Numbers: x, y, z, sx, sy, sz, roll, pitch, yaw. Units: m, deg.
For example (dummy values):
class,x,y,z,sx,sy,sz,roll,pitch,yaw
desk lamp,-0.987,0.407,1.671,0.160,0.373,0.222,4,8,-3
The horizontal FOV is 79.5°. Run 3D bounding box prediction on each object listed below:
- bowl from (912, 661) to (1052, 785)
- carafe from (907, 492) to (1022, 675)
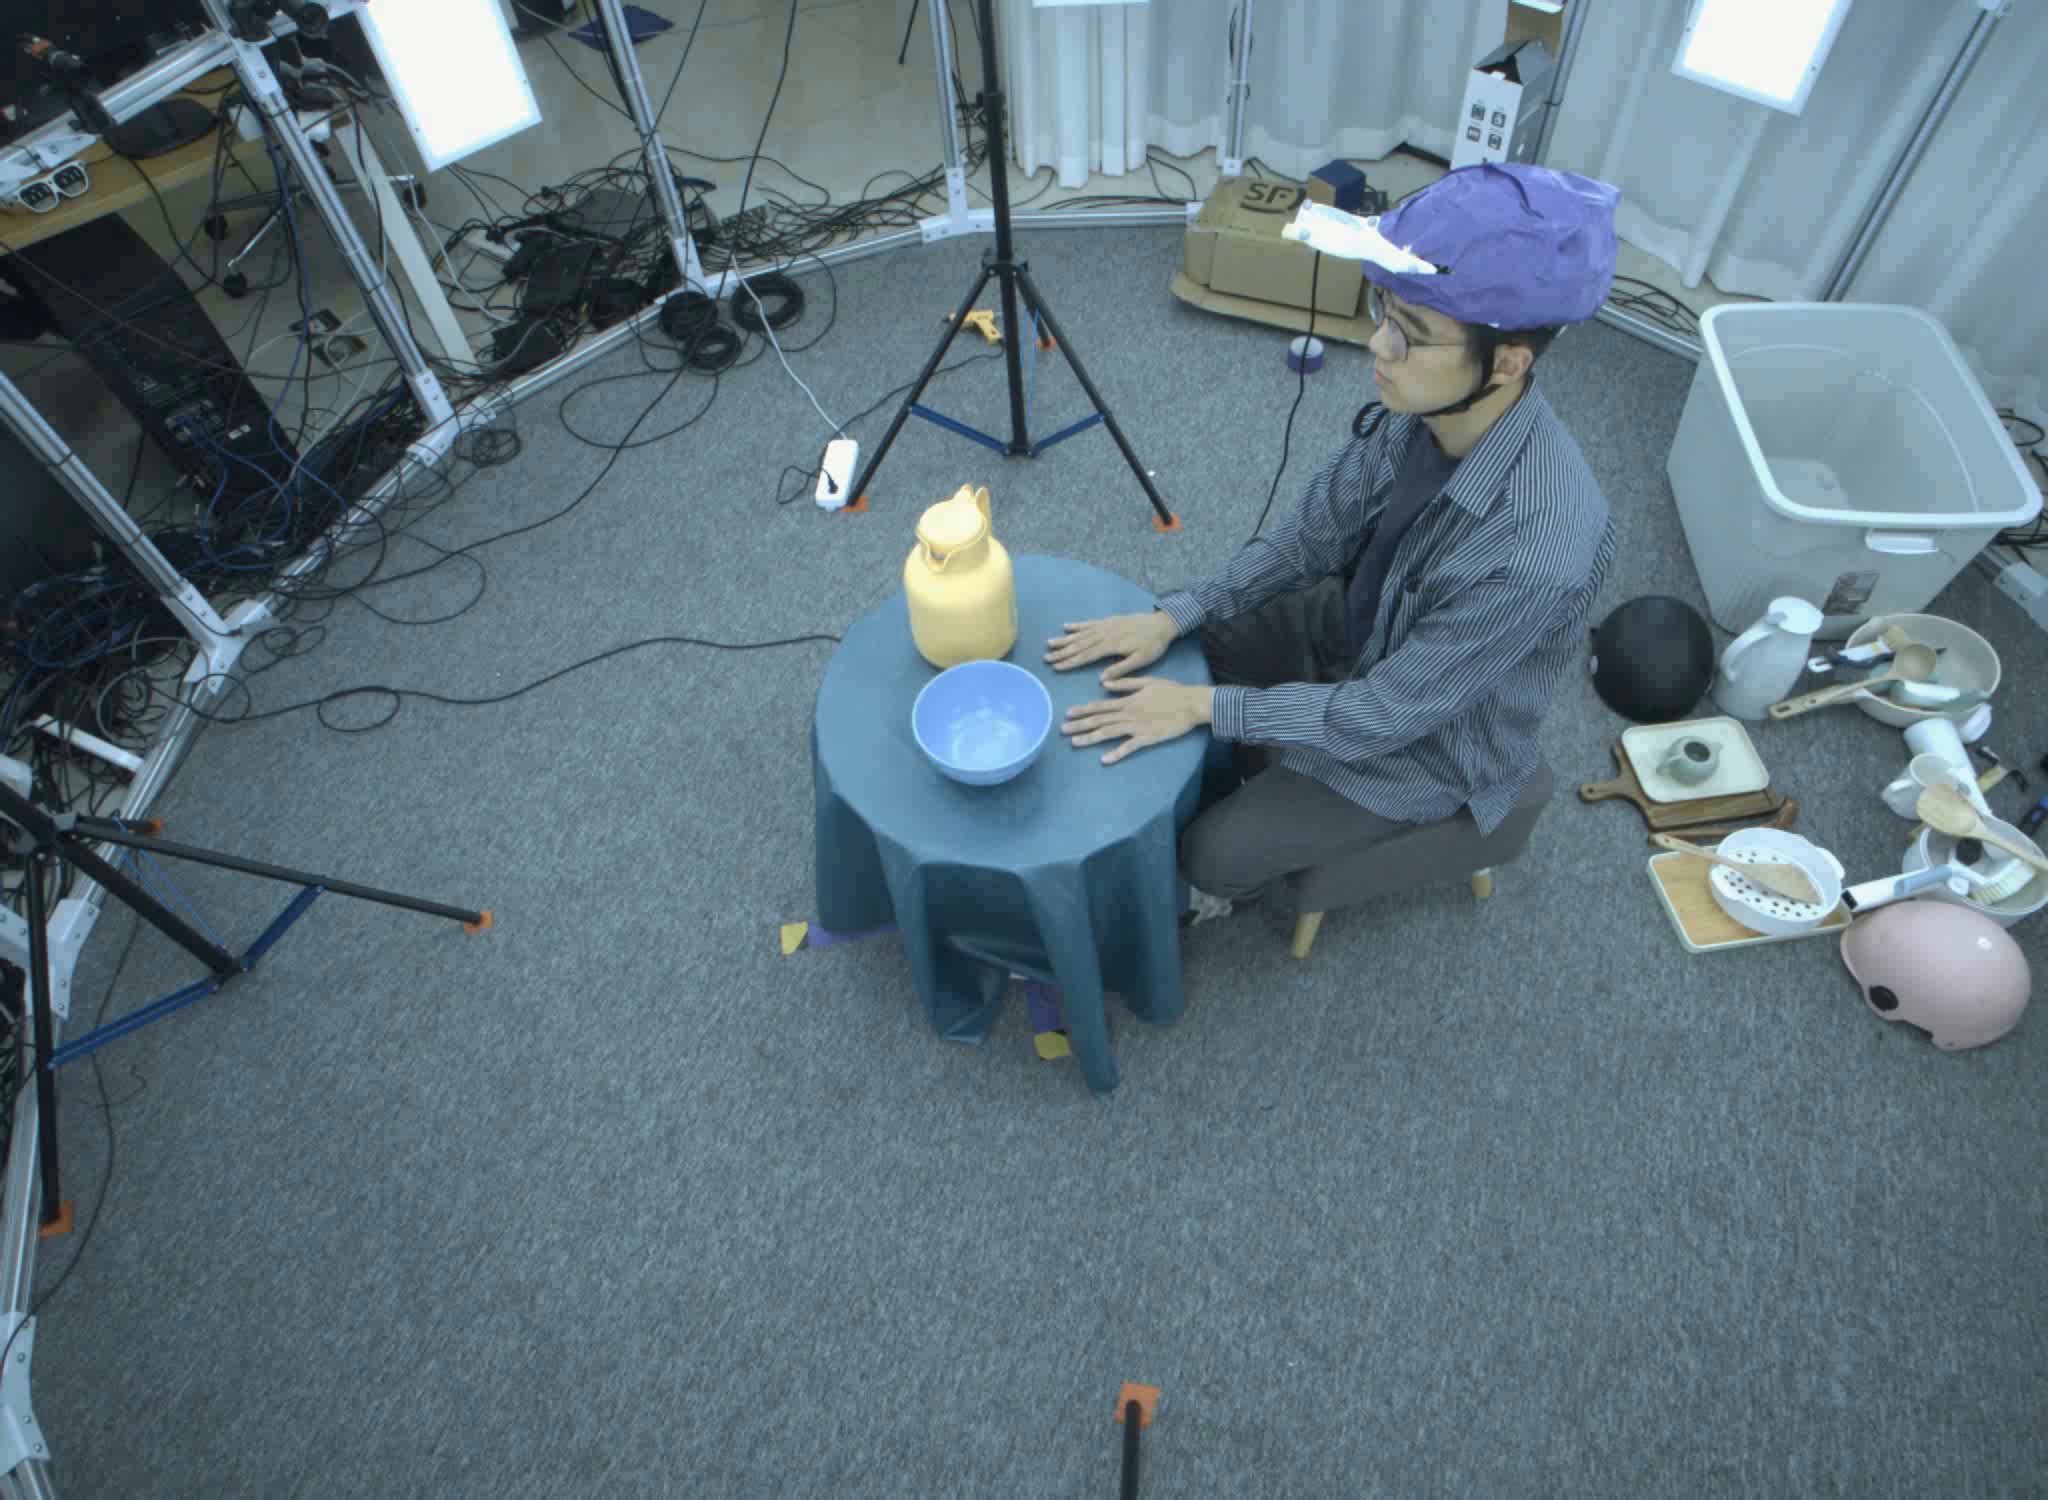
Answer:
class,x,y,z,sx,sy,sz,roll,pitch,yaw
bowl,-0.057,-0.024,1.752,0.196,0.096,0.194,-1,55,2
carafe,-0.084,-0.250,1.812,0.162,0.263,0.202,11,55,11
